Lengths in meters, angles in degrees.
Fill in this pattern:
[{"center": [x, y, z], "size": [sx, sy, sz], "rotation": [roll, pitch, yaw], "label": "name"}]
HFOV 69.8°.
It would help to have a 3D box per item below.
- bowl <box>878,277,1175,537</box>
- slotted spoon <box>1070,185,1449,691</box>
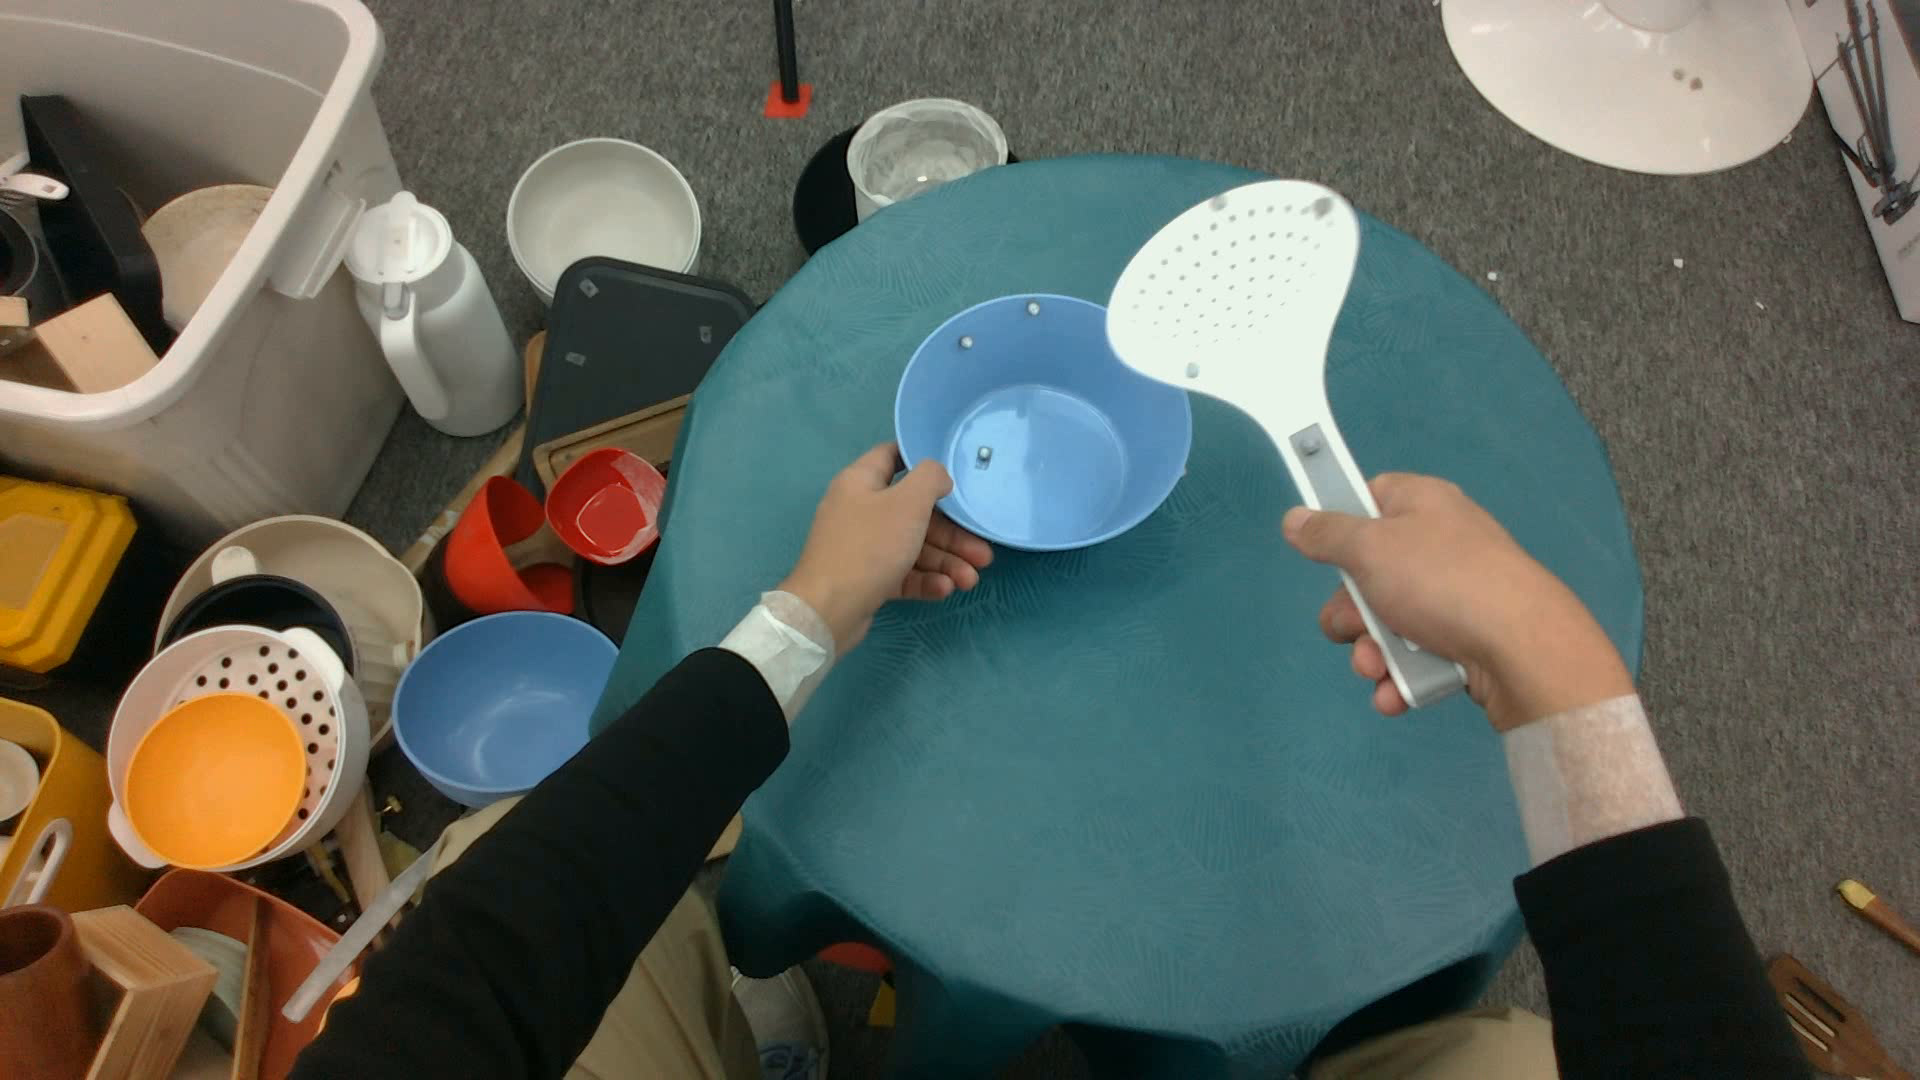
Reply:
[{"center": [0.038, -0.069, 0.837], "size": [0.176, 0.070, 0.176], "rotation": [1, 65, -2], "label": "bowl"}, {"center": [0.145, -0.063, 0.662], "size": [0.136, 0.045, 0.351], "rotation": [-31, 37, 13], "label": "slotted spoon"}]
